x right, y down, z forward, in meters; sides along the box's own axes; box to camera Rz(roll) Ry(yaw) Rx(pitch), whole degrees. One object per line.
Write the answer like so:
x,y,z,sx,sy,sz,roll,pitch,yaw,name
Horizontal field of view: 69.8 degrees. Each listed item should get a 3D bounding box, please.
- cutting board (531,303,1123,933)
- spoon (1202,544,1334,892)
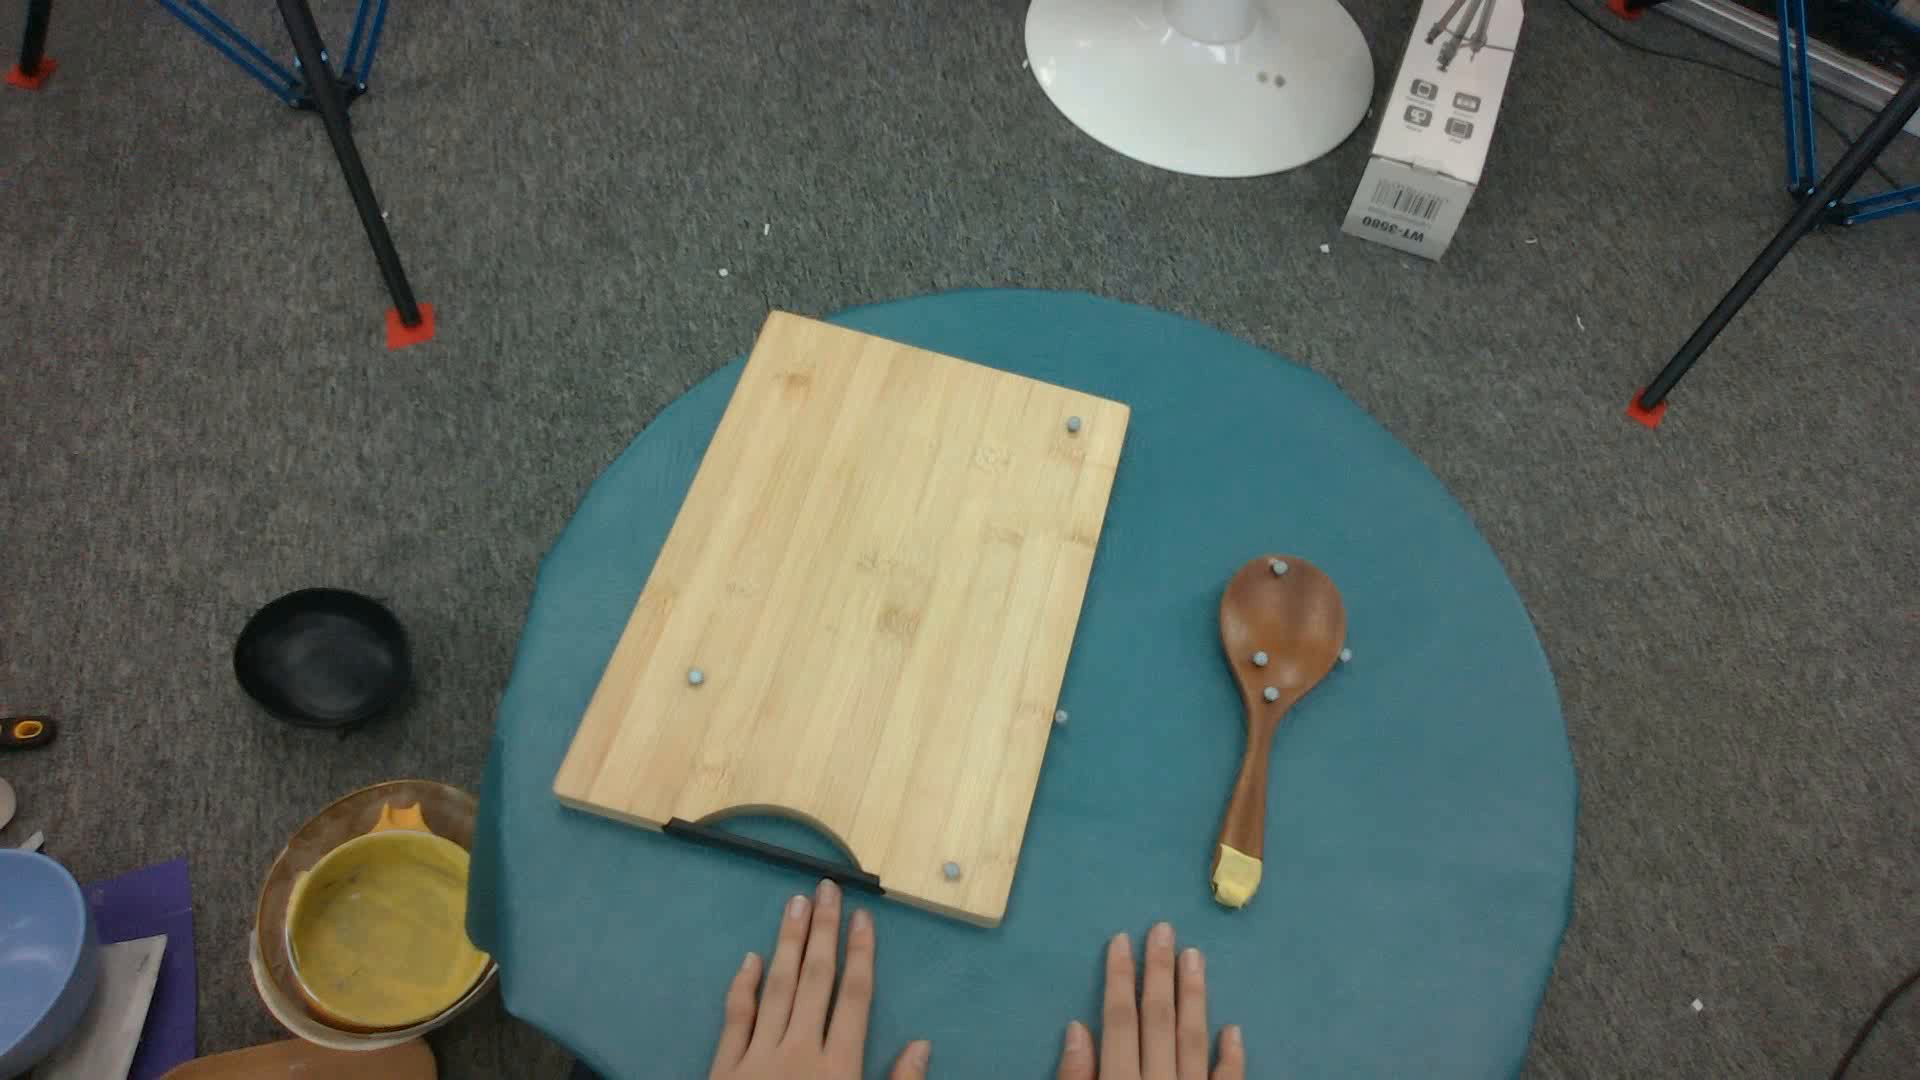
-0.058,0.025,0.790,0.250,0.023,0.350,14,58,3,cutting board
0.165,0.095,0.773,0.075,0.017,0.217,16,58,3,spoon
